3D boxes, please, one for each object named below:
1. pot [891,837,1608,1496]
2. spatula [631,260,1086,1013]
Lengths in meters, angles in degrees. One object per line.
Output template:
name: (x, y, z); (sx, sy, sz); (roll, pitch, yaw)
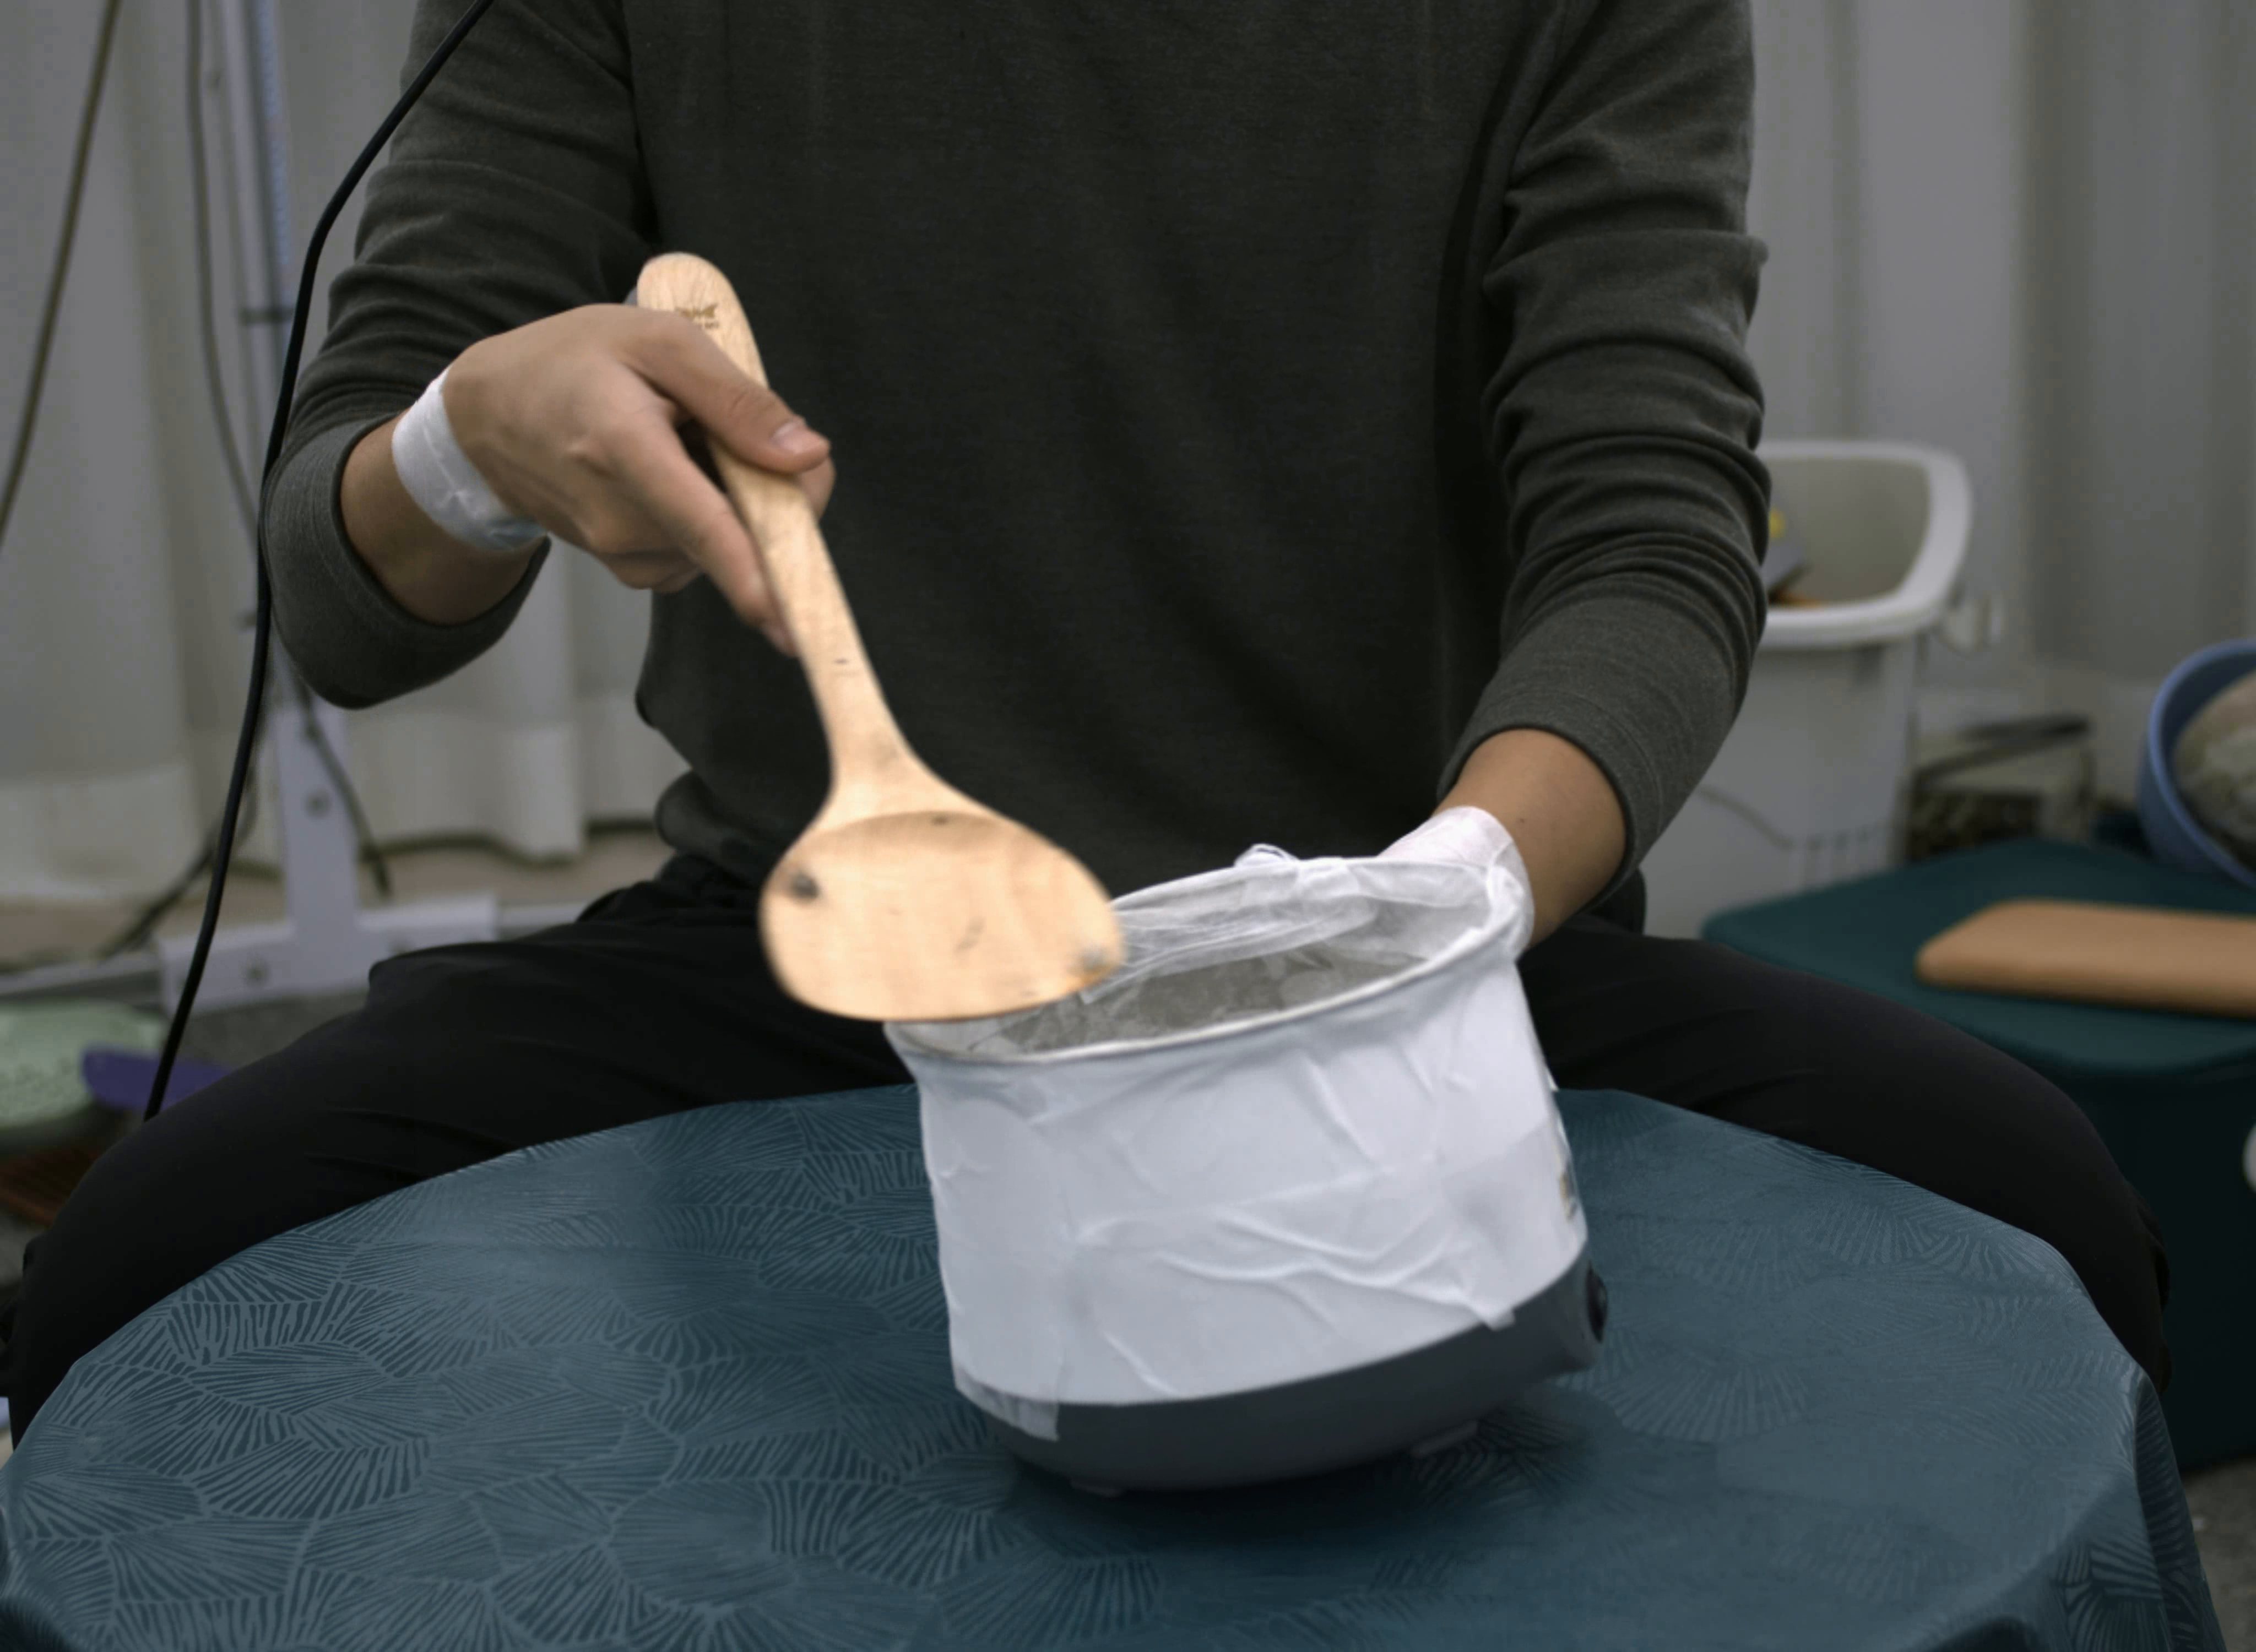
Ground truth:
pot: (0.039, 0.088, 1.514); (0.178, 0.136, 0.235); (-8, 13, 12)
spatula: (-0.100, -0.063, 1.561); (0.095, 0.018, 0.397); (-3, 37, -16)
